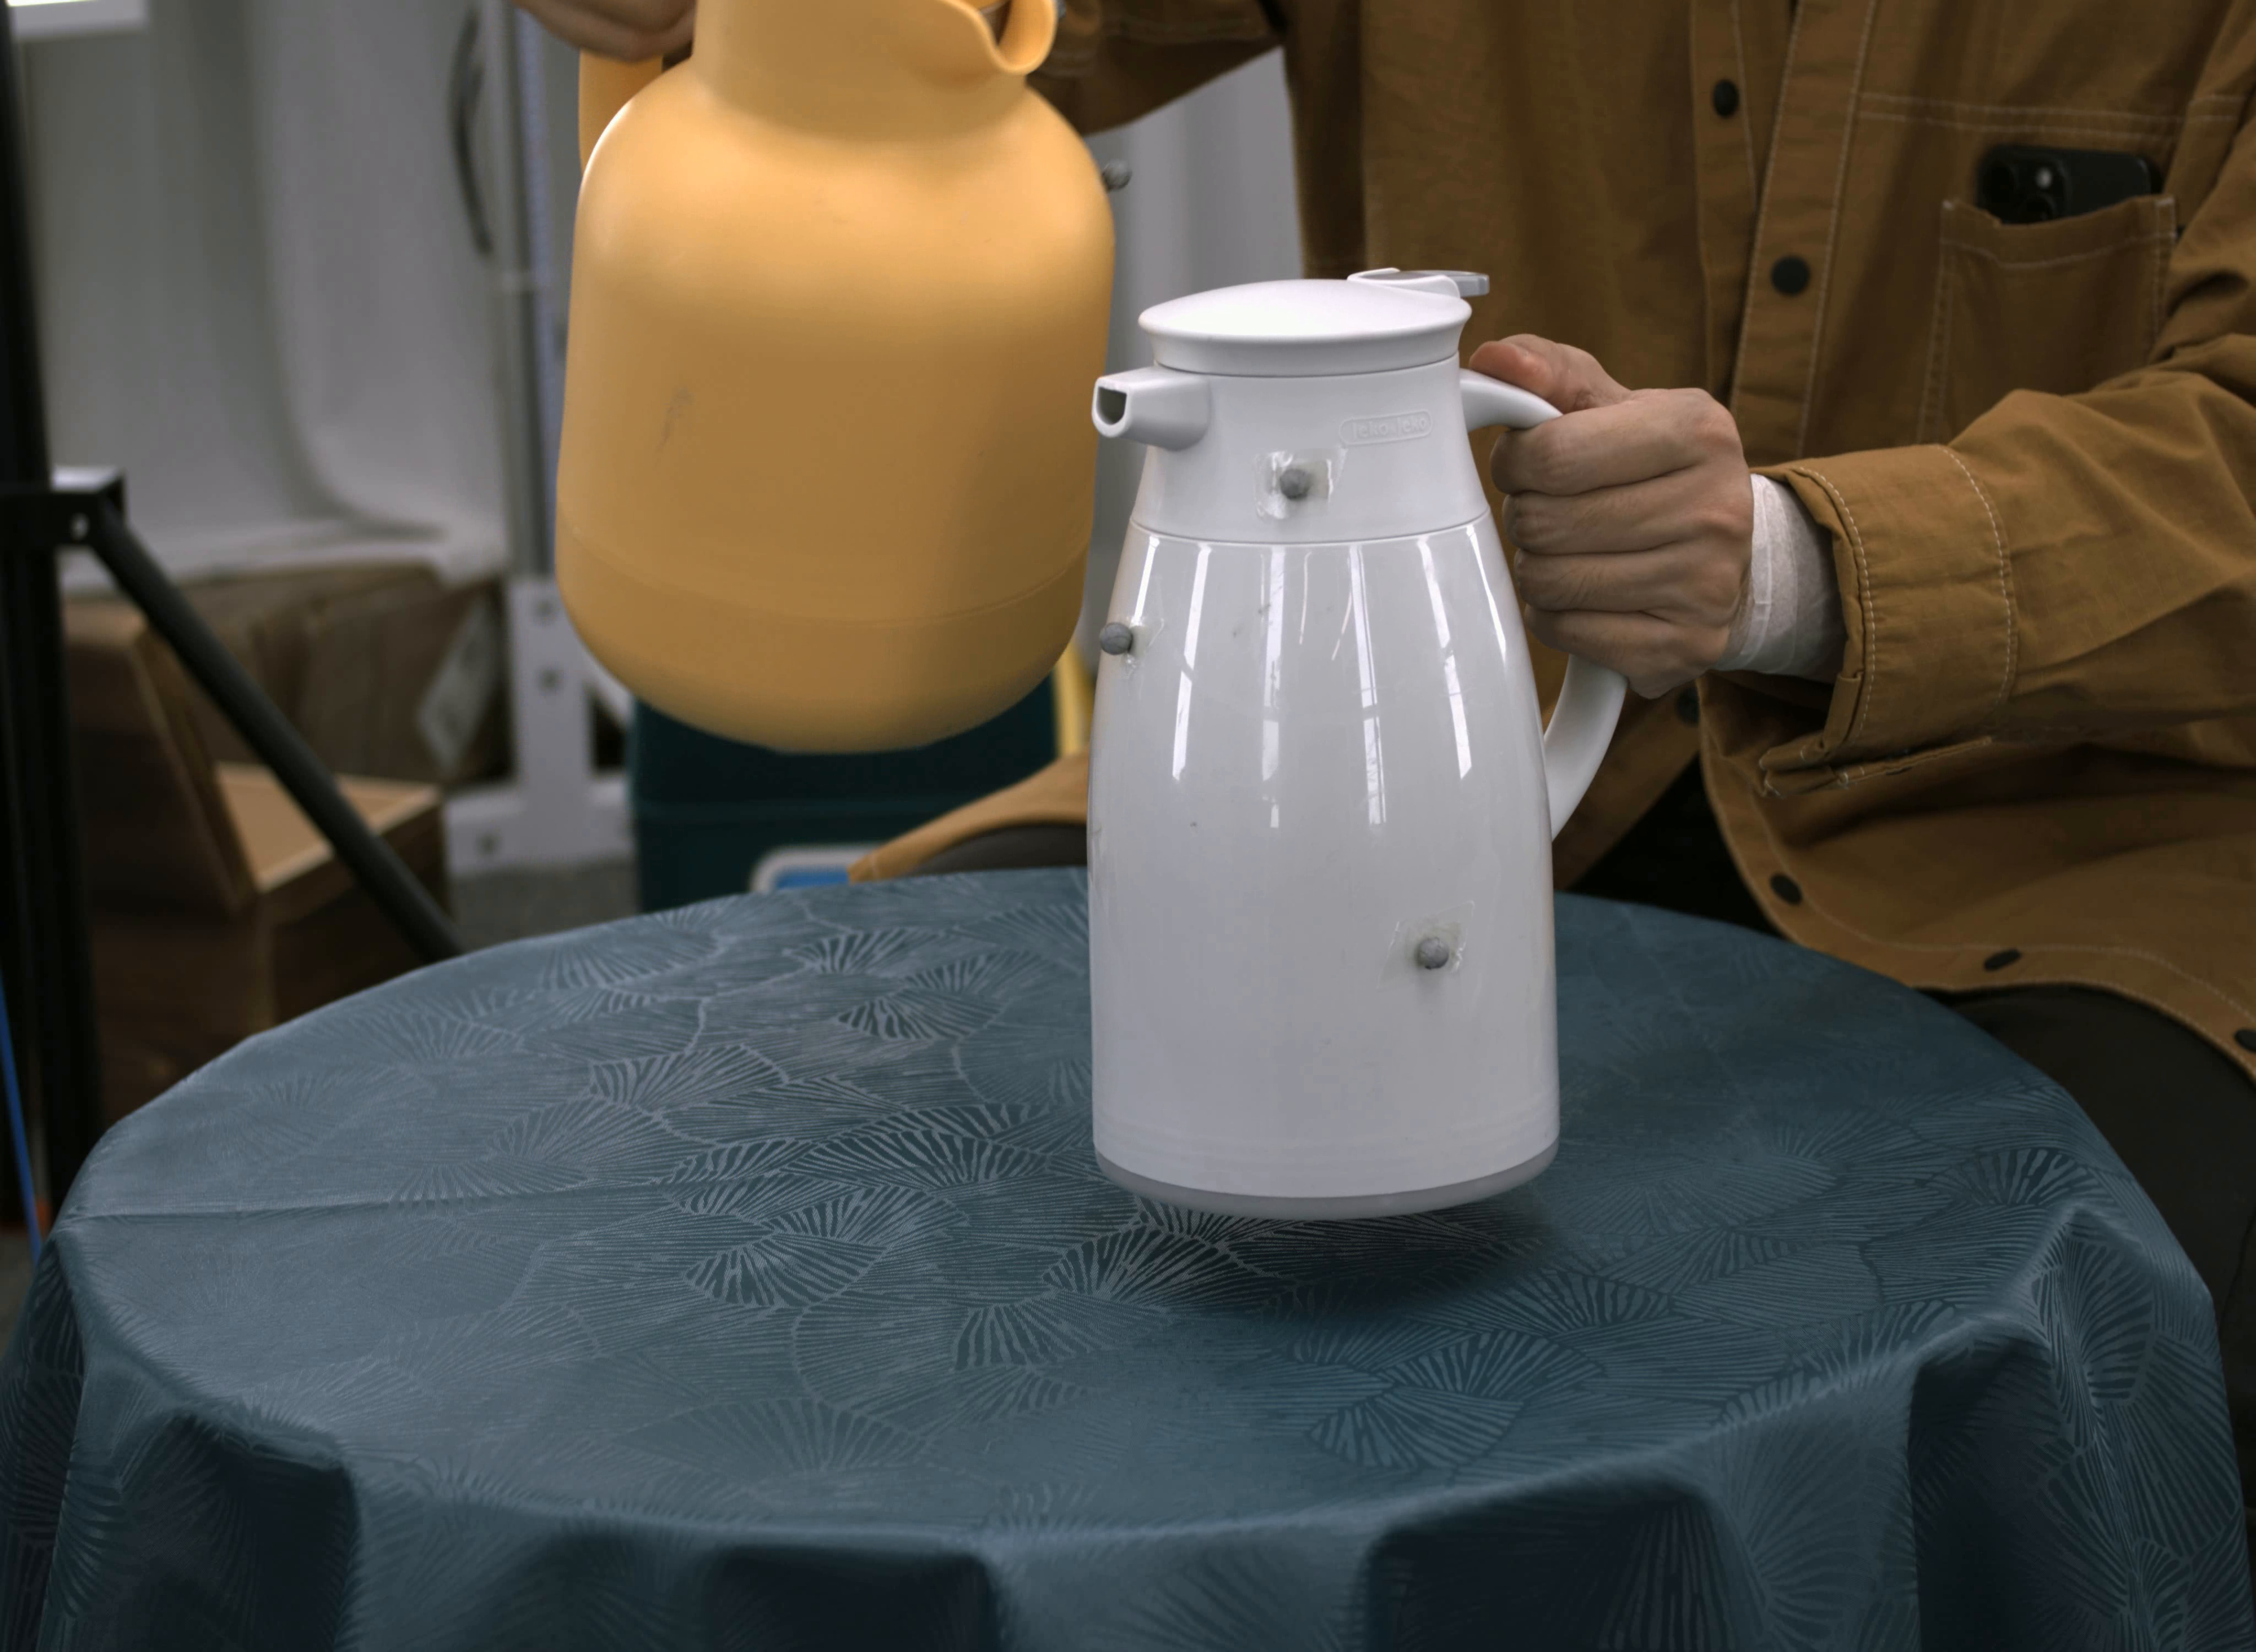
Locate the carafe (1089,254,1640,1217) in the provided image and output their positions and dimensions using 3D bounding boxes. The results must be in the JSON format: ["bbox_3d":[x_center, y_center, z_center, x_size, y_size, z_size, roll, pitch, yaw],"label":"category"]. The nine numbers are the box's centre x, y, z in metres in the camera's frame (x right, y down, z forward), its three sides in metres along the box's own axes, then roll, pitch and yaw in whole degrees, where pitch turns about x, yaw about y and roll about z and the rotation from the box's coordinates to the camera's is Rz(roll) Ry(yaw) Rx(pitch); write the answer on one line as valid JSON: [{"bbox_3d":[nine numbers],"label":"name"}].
[{"bbox_3d":[0.069,-0.032,1.479,0.164,0.249,0.135,-8,14,-28],"label":"carafe"}]

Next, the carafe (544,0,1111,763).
[{"bbox_3d":[-0.097,-0.168,1.601,0.160,0.260,0.207,-13,35,-35],"label":"carafe"}]
